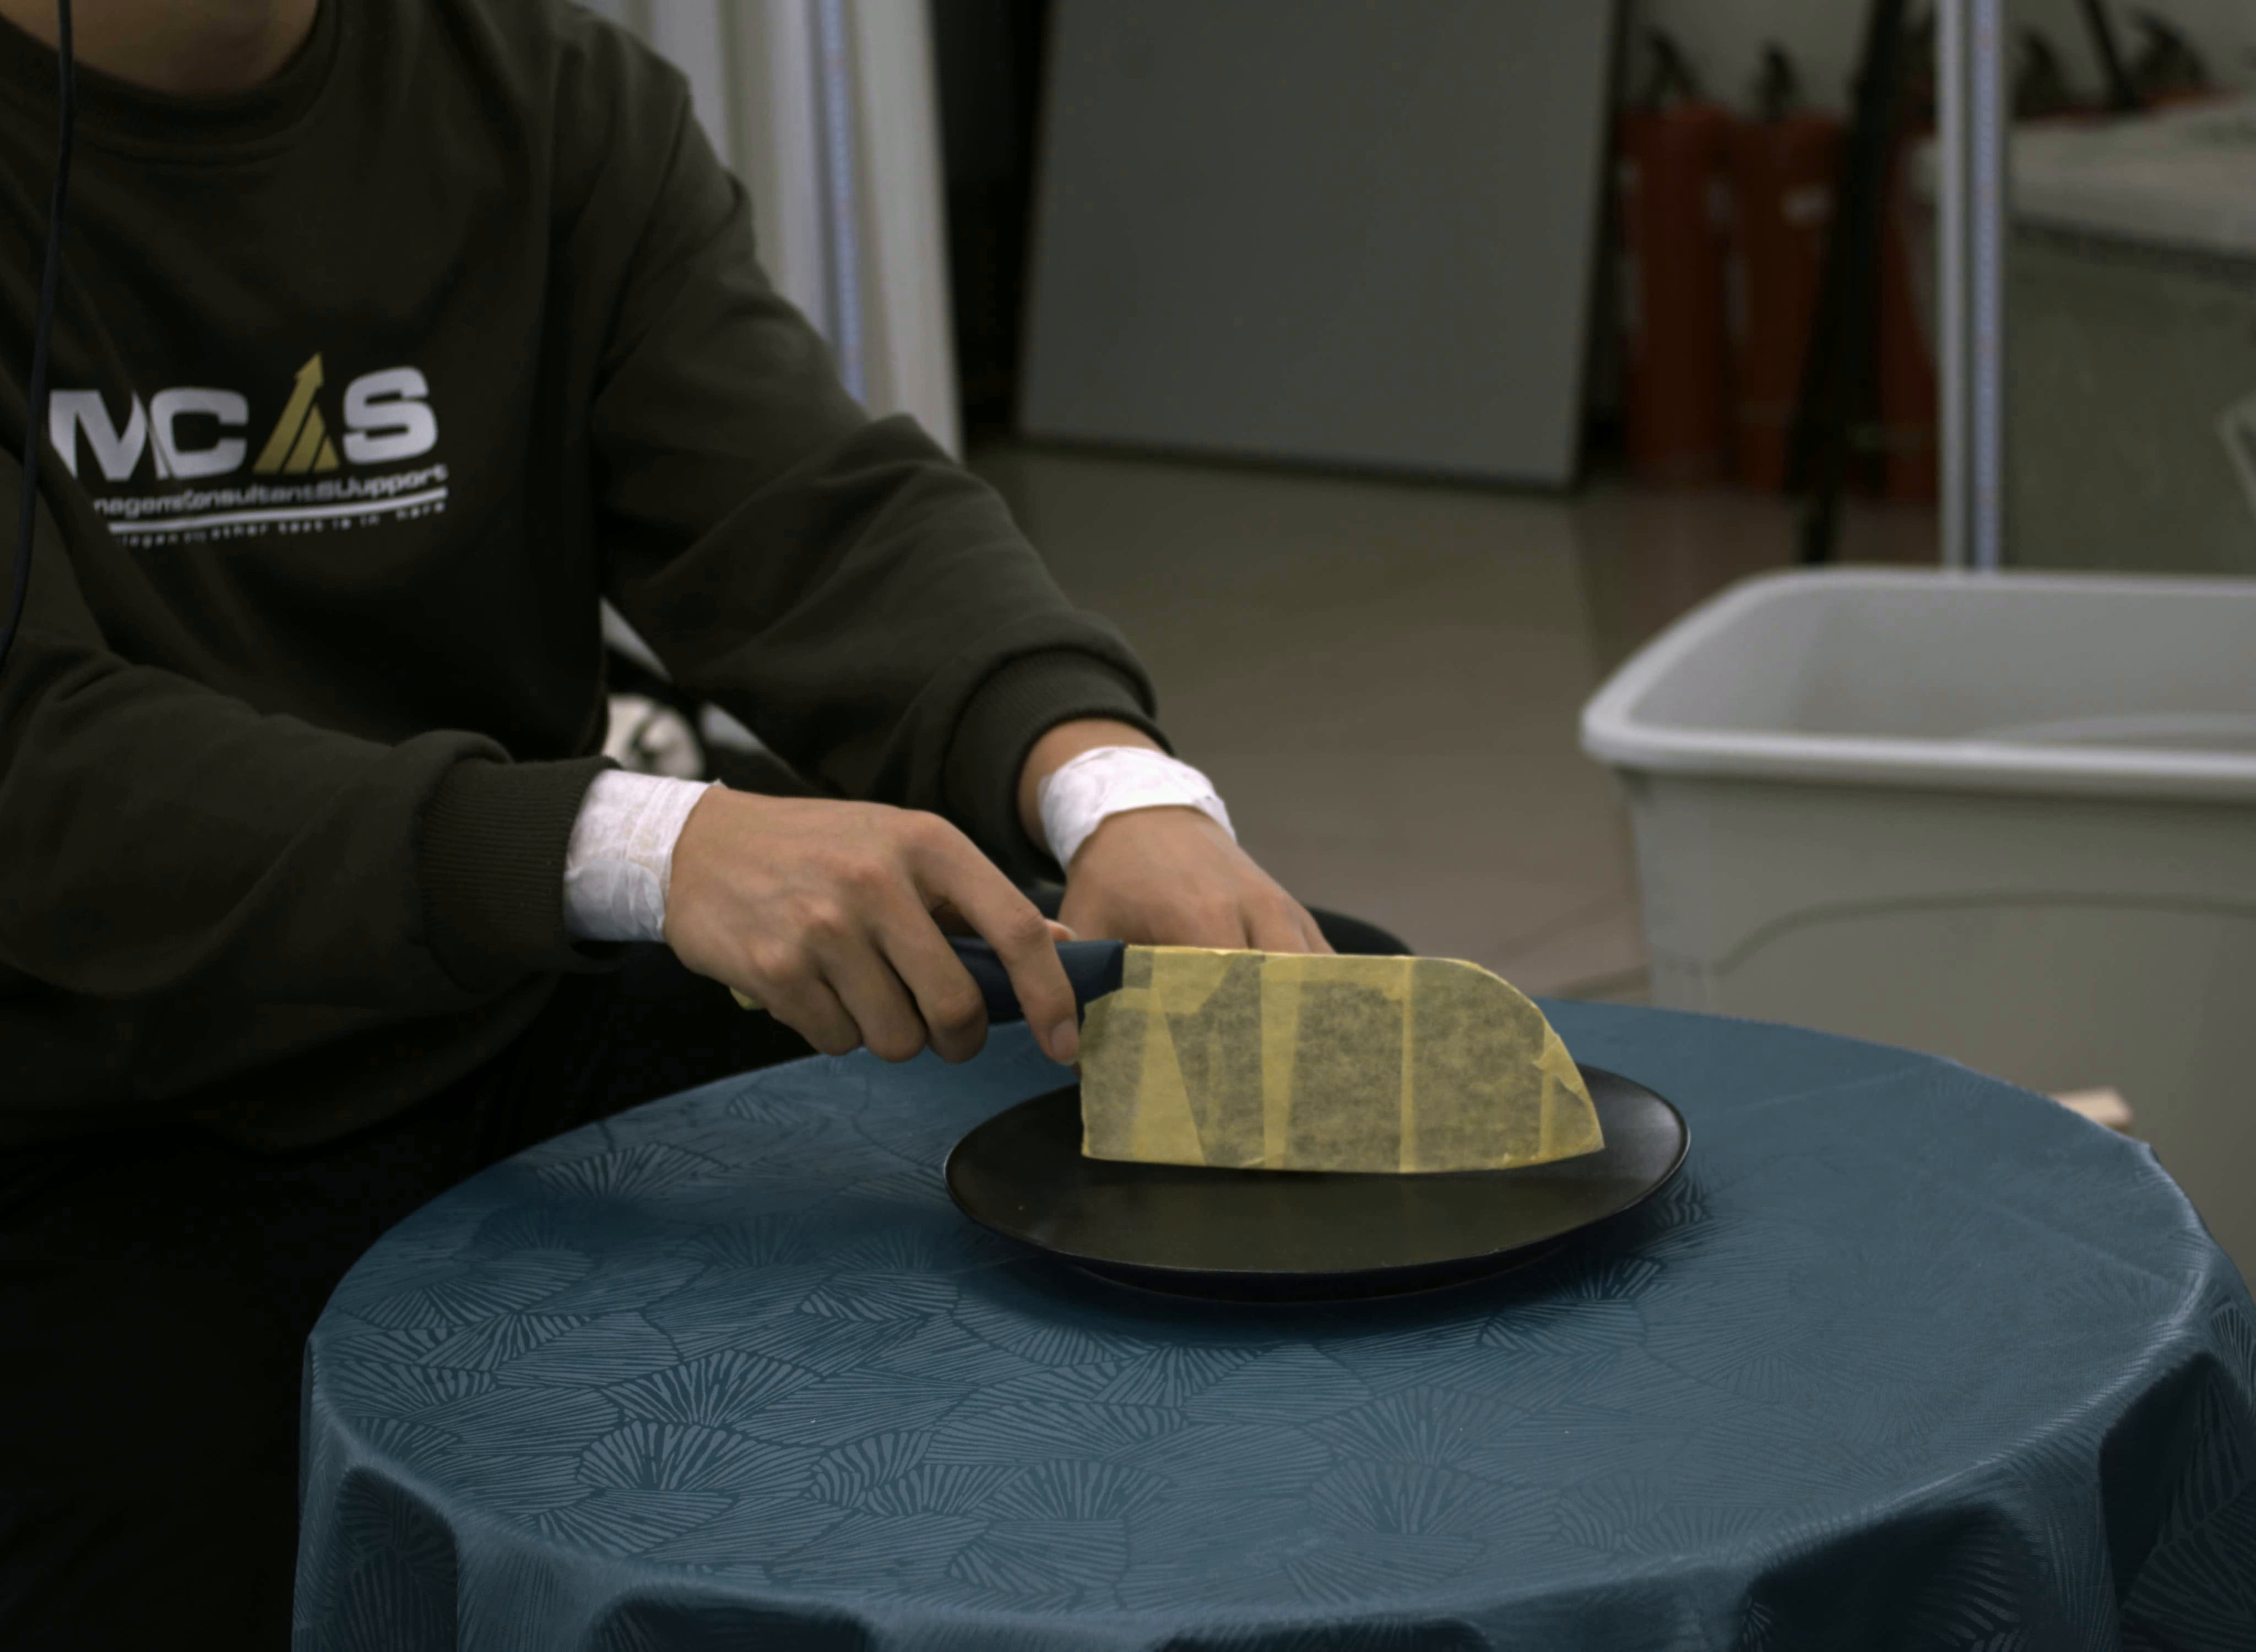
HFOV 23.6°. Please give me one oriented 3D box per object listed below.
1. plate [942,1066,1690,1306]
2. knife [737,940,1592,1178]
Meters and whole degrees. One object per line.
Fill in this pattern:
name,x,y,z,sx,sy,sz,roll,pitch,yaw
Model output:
plate,0.061,0.115,1.734,0.241,0.024,0.245,-4,13,0
knife,0.010,0.073,1.754,0.288,0.082,0.027,5,7,14
